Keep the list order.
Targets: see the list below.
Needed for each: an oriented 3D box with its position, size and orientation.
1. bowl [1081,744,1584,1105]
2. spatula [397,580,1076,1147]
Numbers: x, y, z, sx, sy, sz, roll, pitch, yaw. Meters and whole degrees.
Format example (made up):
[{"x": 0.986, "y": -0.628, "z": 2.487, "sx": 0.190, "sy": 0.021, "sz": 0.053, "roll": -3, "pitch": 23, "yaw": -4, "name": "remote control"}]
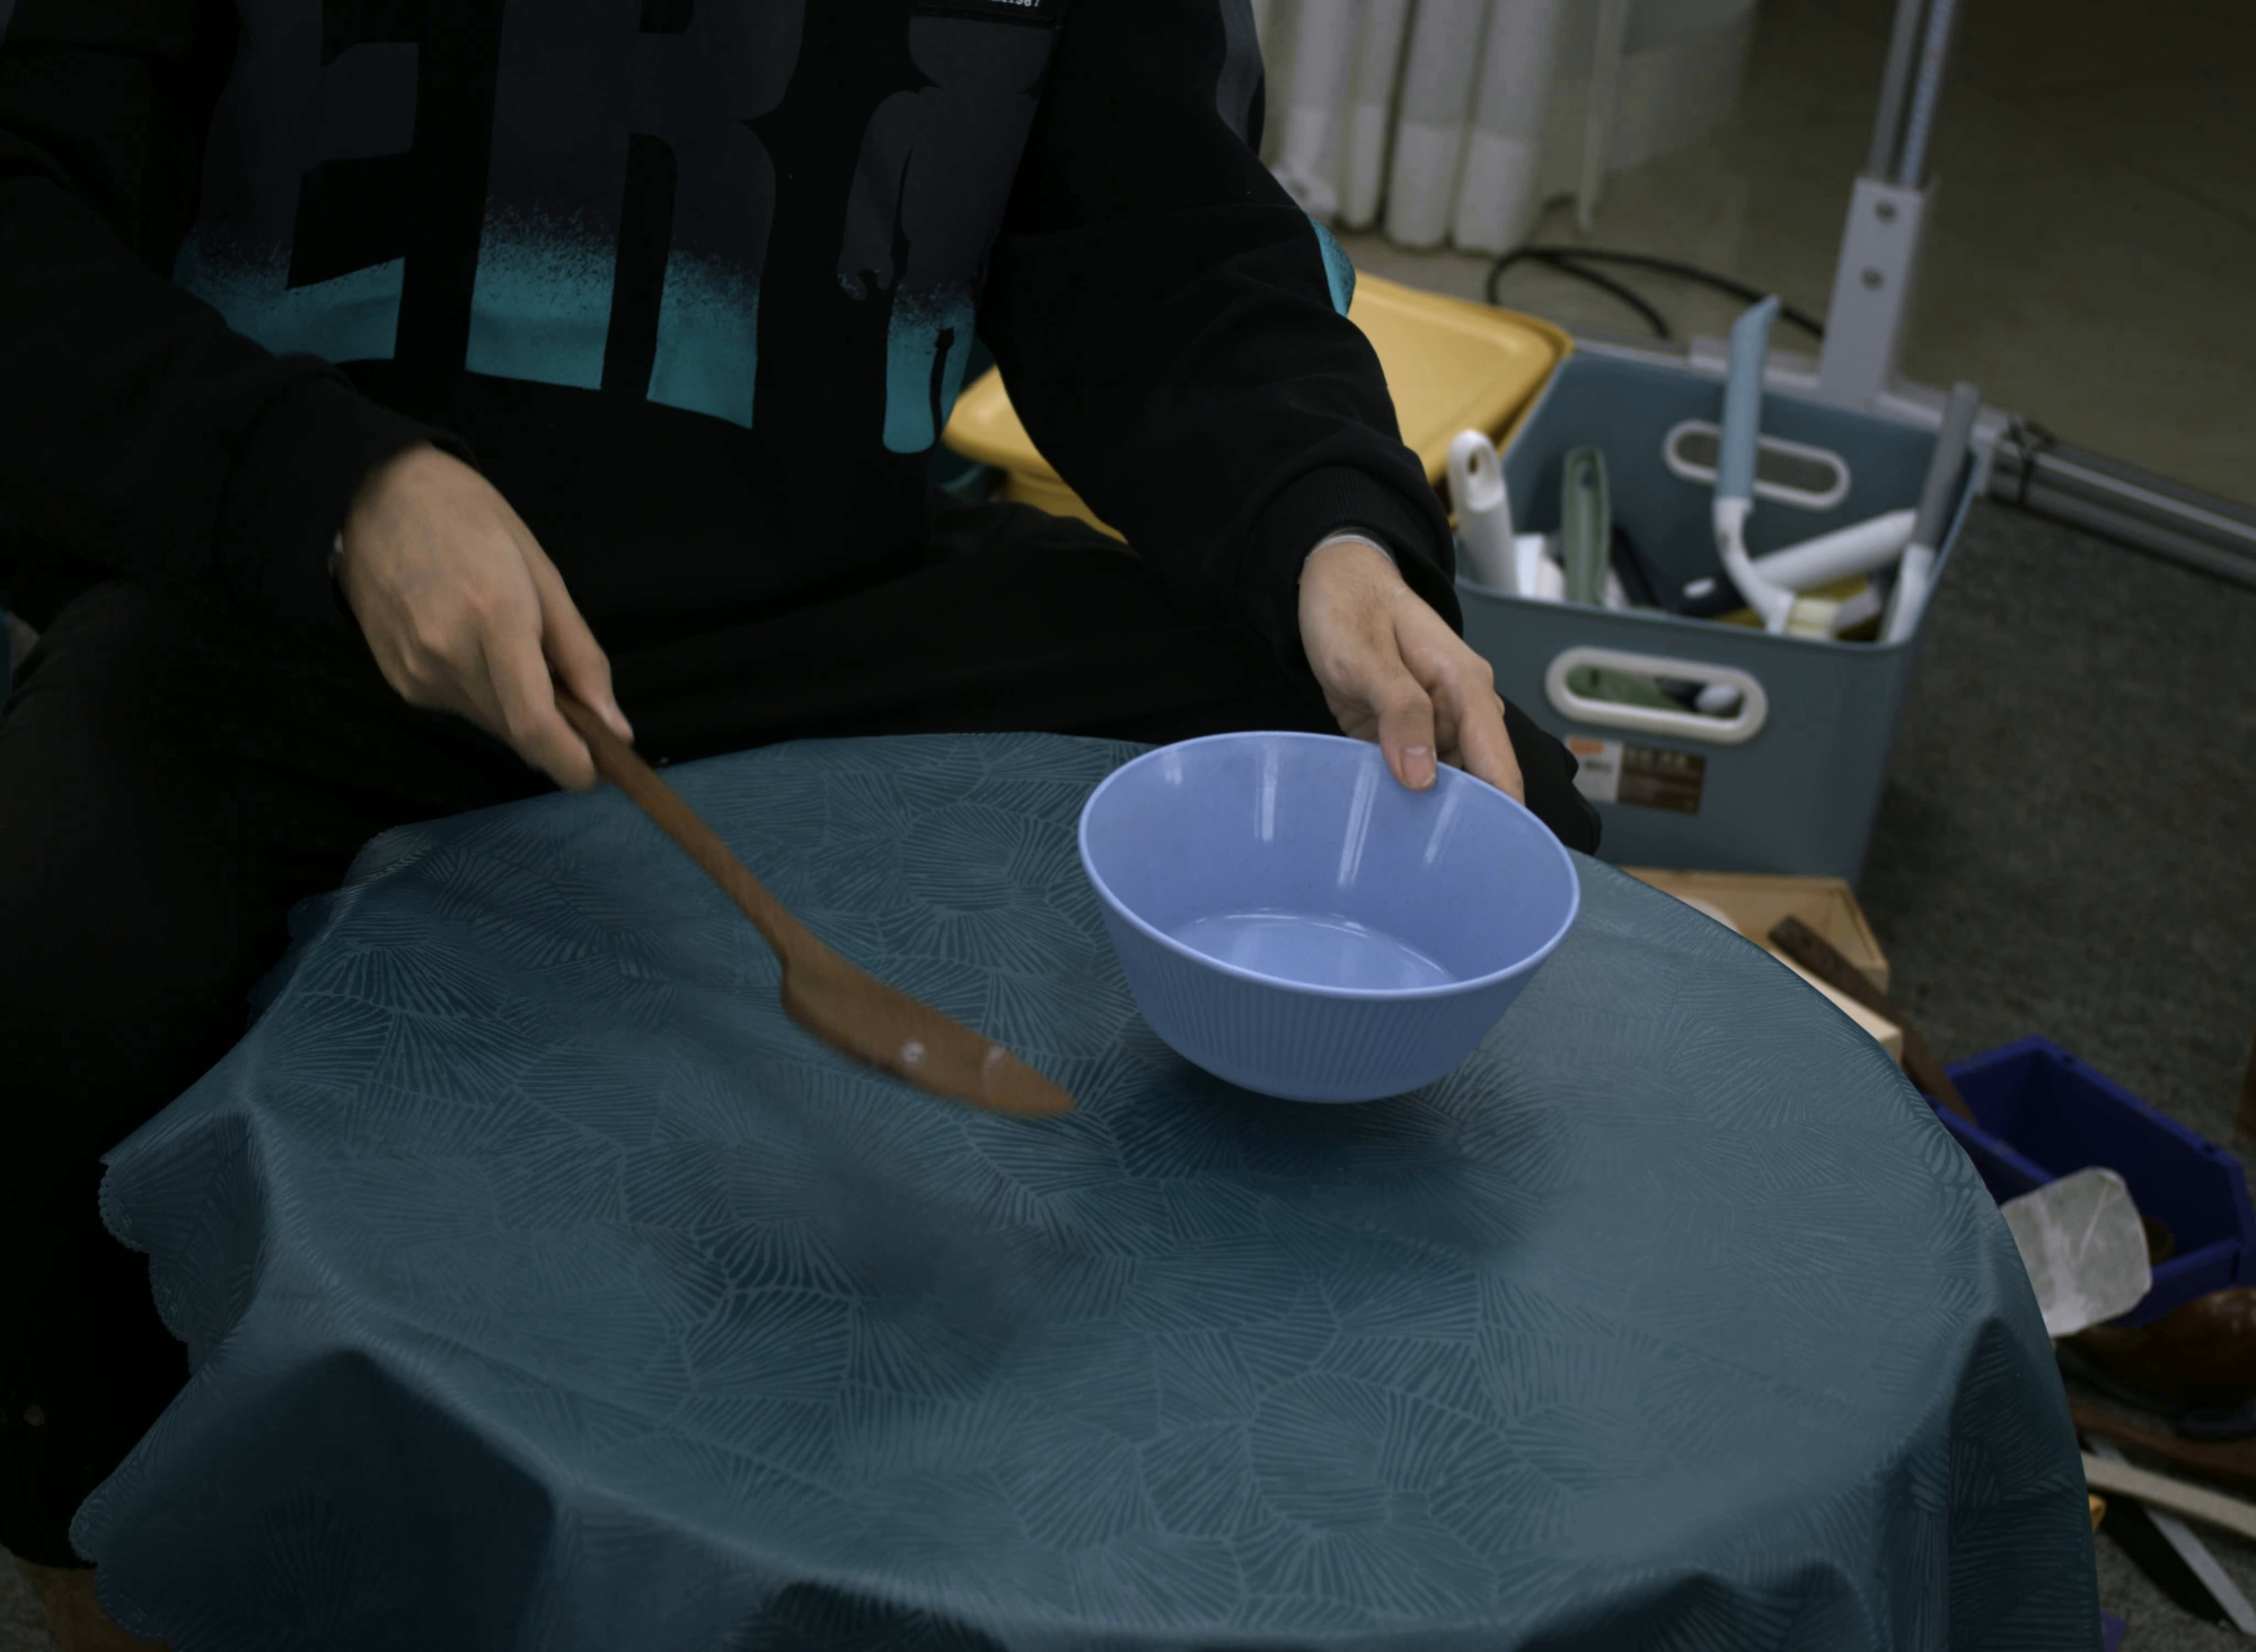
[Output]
[{"x": 0.067, "y": 0.040, "z": 1.853, "sx": 0.175, "sy": 0.070, "sz": 0.177, "roll": 5, "pitch": 28, "yaw": -3, "name": "bowl"}, {"x": -0.151, "y": 0.006, "z": 1.820, "sx": 0.095, "sy": 0.016, "sz": 0.389, "roll": 14, "pitch": 20, "yaw": -45, "name": "spatula"}]
